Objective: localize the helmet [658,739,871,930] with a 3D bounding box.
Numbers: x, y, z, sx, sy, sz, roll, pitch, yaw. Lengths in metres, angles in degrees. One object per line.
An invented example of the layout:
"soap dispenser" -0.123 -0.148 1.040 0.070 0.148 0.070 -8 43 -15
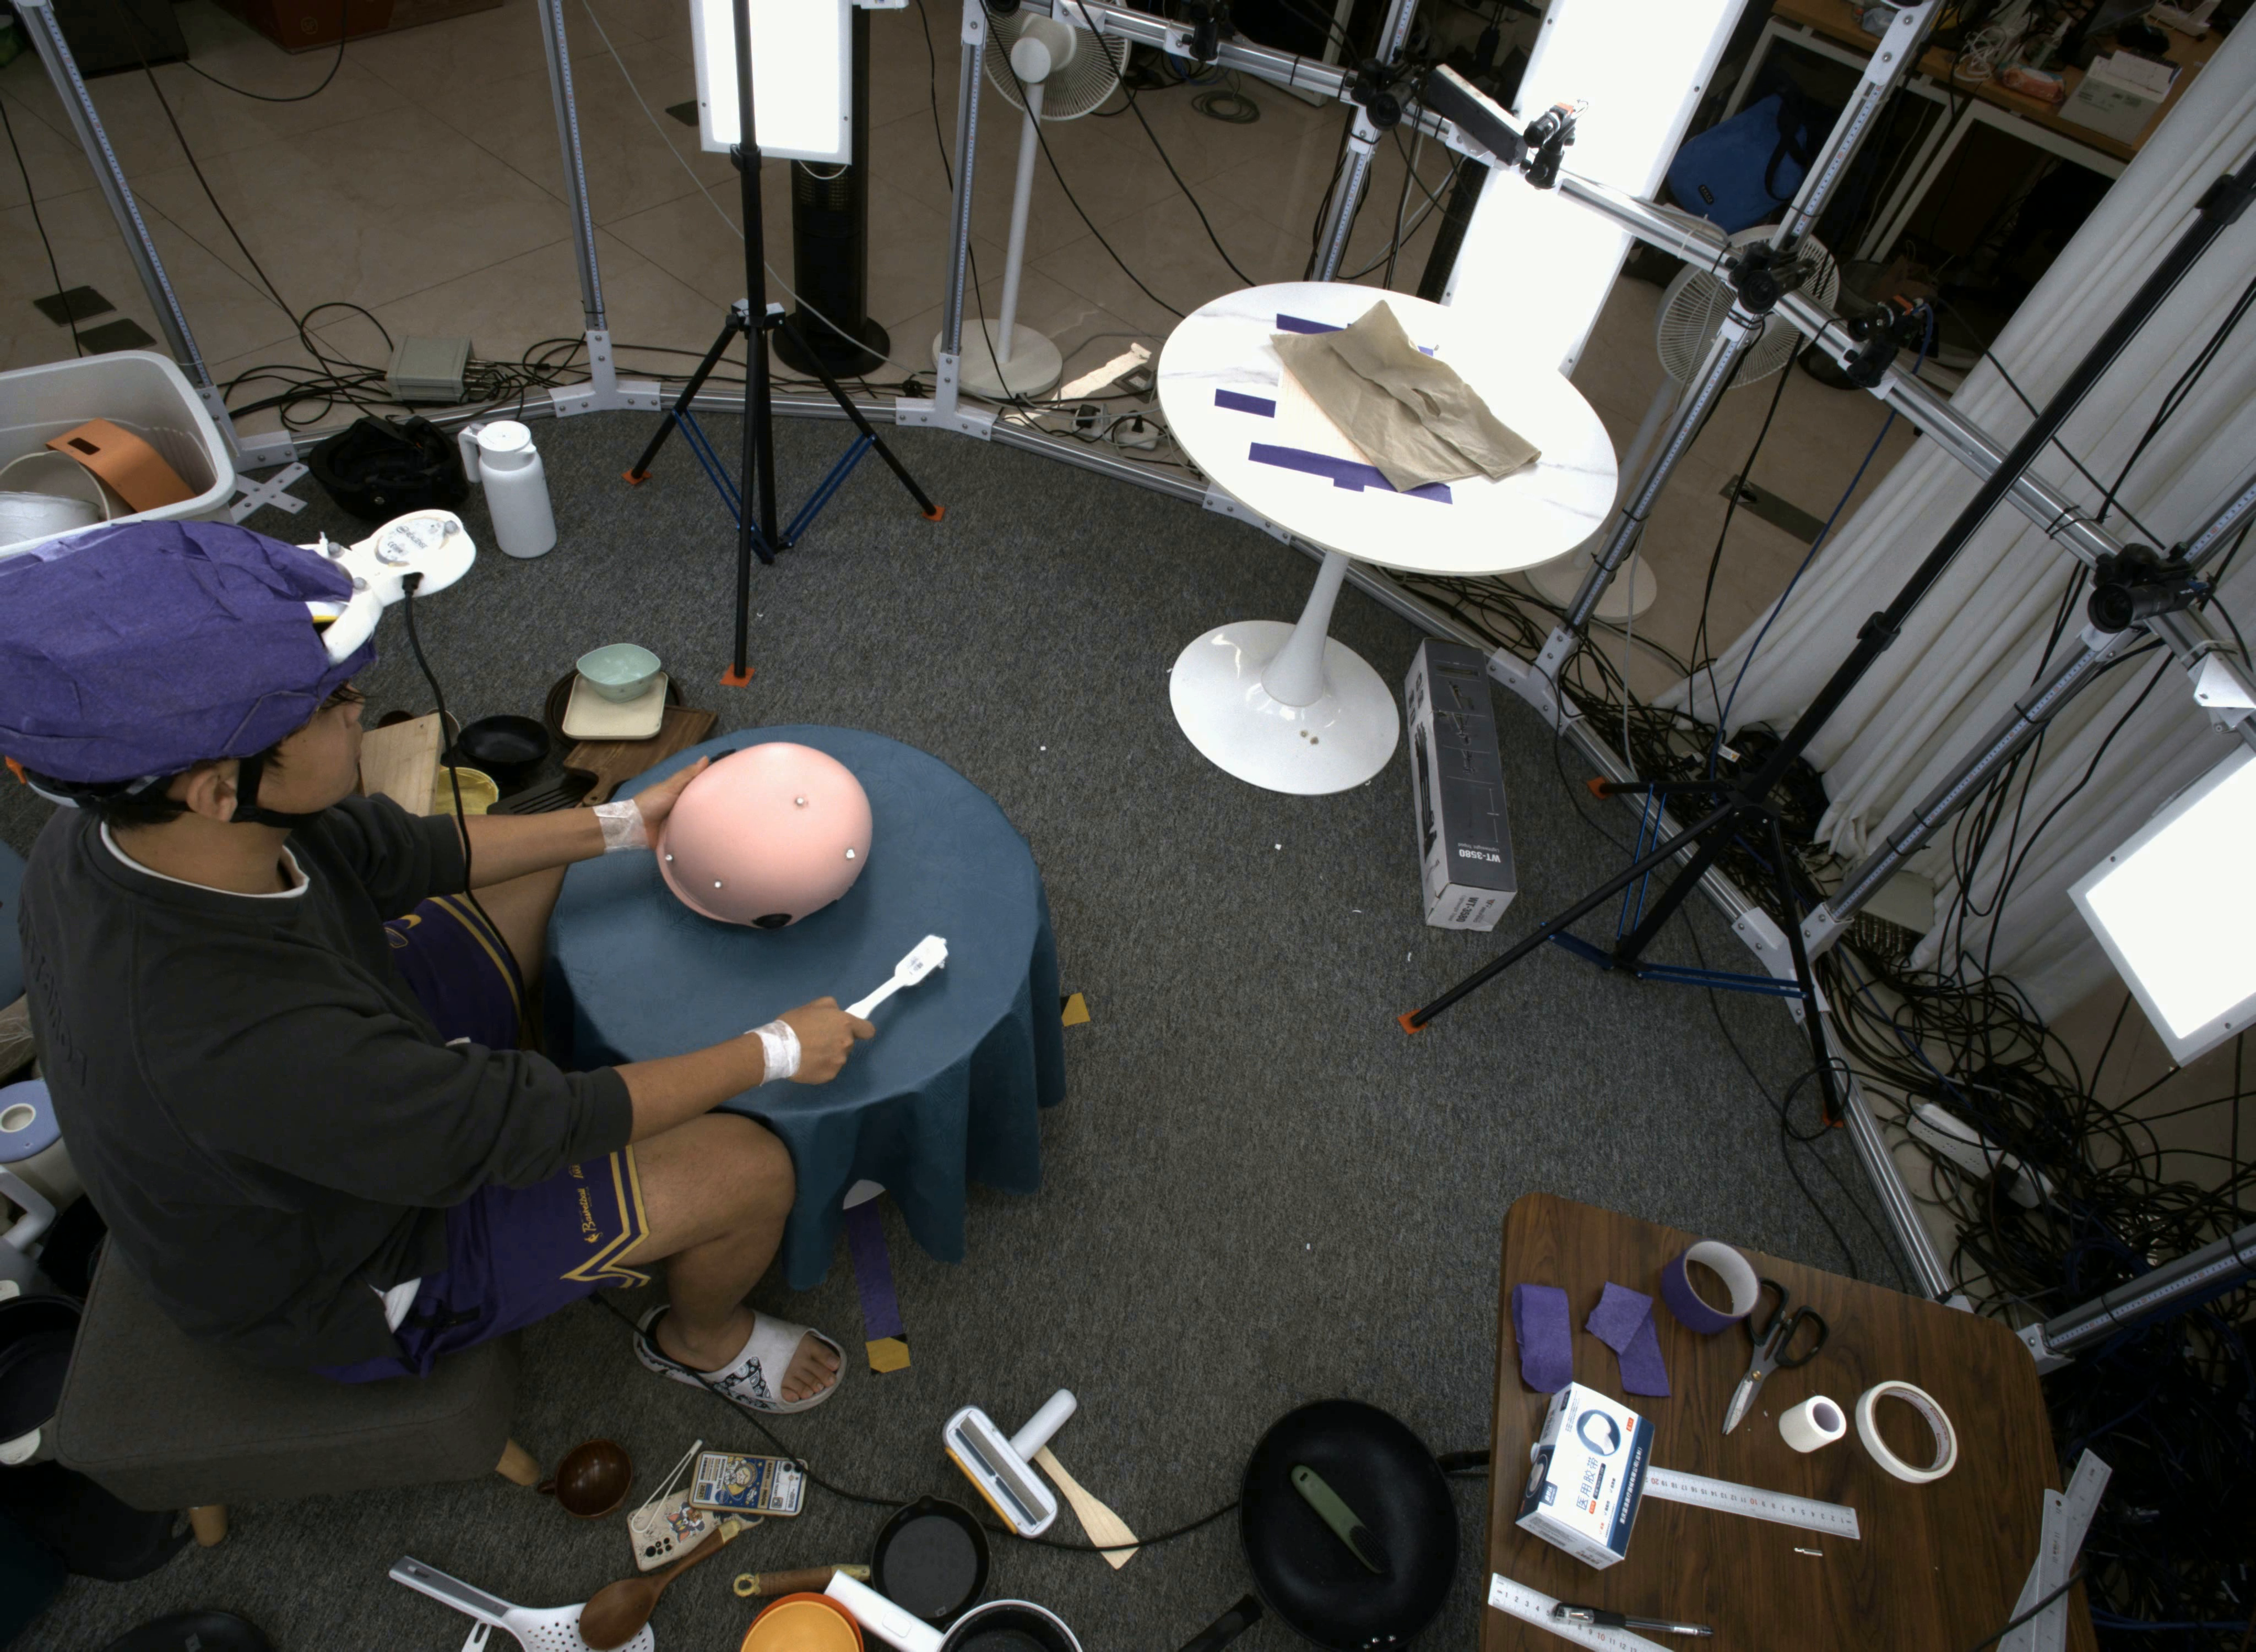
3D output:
"helmet" -0.439 -0.002 1.582 0.267 0.157 0.235 -18 85 -24

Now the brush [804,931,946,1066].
"brush" -0.302 0.210 1.560 0.034 0.051 0.243 34 49 12
